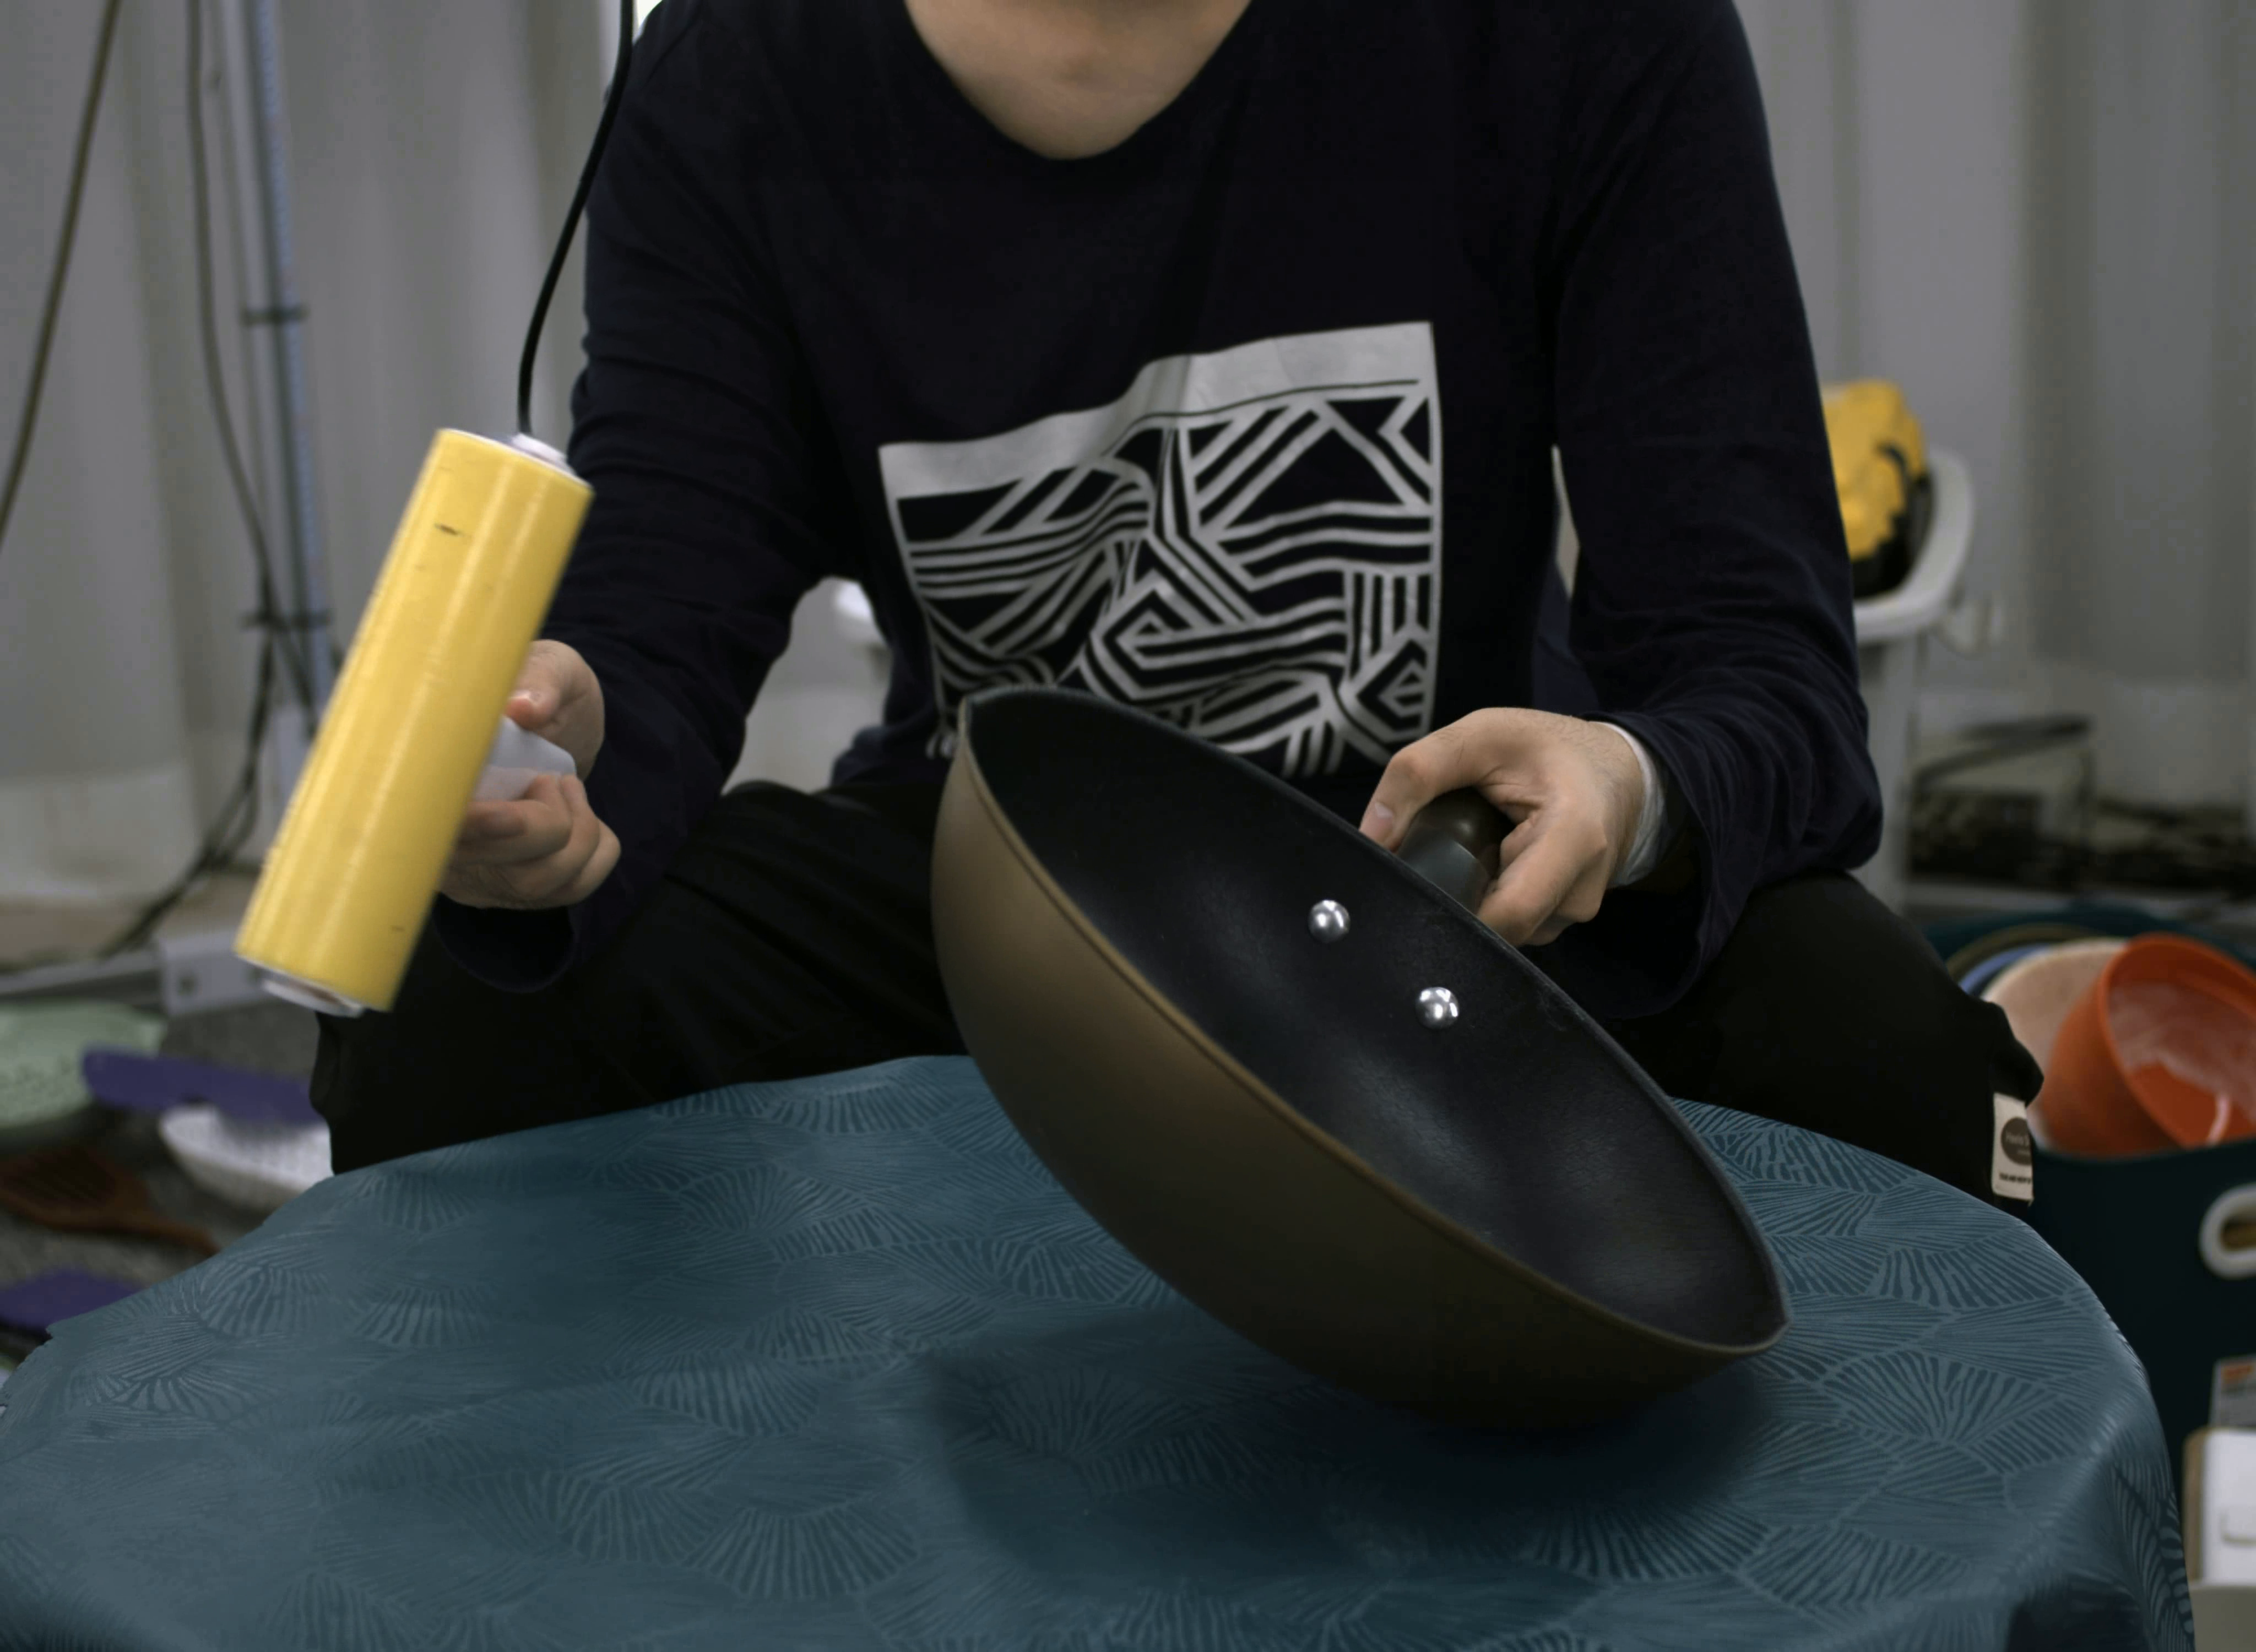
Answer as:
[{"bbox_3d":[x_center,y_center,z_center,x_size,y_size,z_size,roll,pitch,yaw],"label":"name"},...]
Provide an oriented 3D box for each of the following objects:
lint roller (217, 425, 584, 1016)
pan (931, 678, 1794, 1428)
[{"bbox_3d":[-0.204,-0.023,1.628,0.051,0.175,0.191,21,-5,2],"label":"lint roller"},{"bbox_3d":[0.062,0.058,1.605,0.288,0.086,0.465,37,14,0],"label":"pan"}]
